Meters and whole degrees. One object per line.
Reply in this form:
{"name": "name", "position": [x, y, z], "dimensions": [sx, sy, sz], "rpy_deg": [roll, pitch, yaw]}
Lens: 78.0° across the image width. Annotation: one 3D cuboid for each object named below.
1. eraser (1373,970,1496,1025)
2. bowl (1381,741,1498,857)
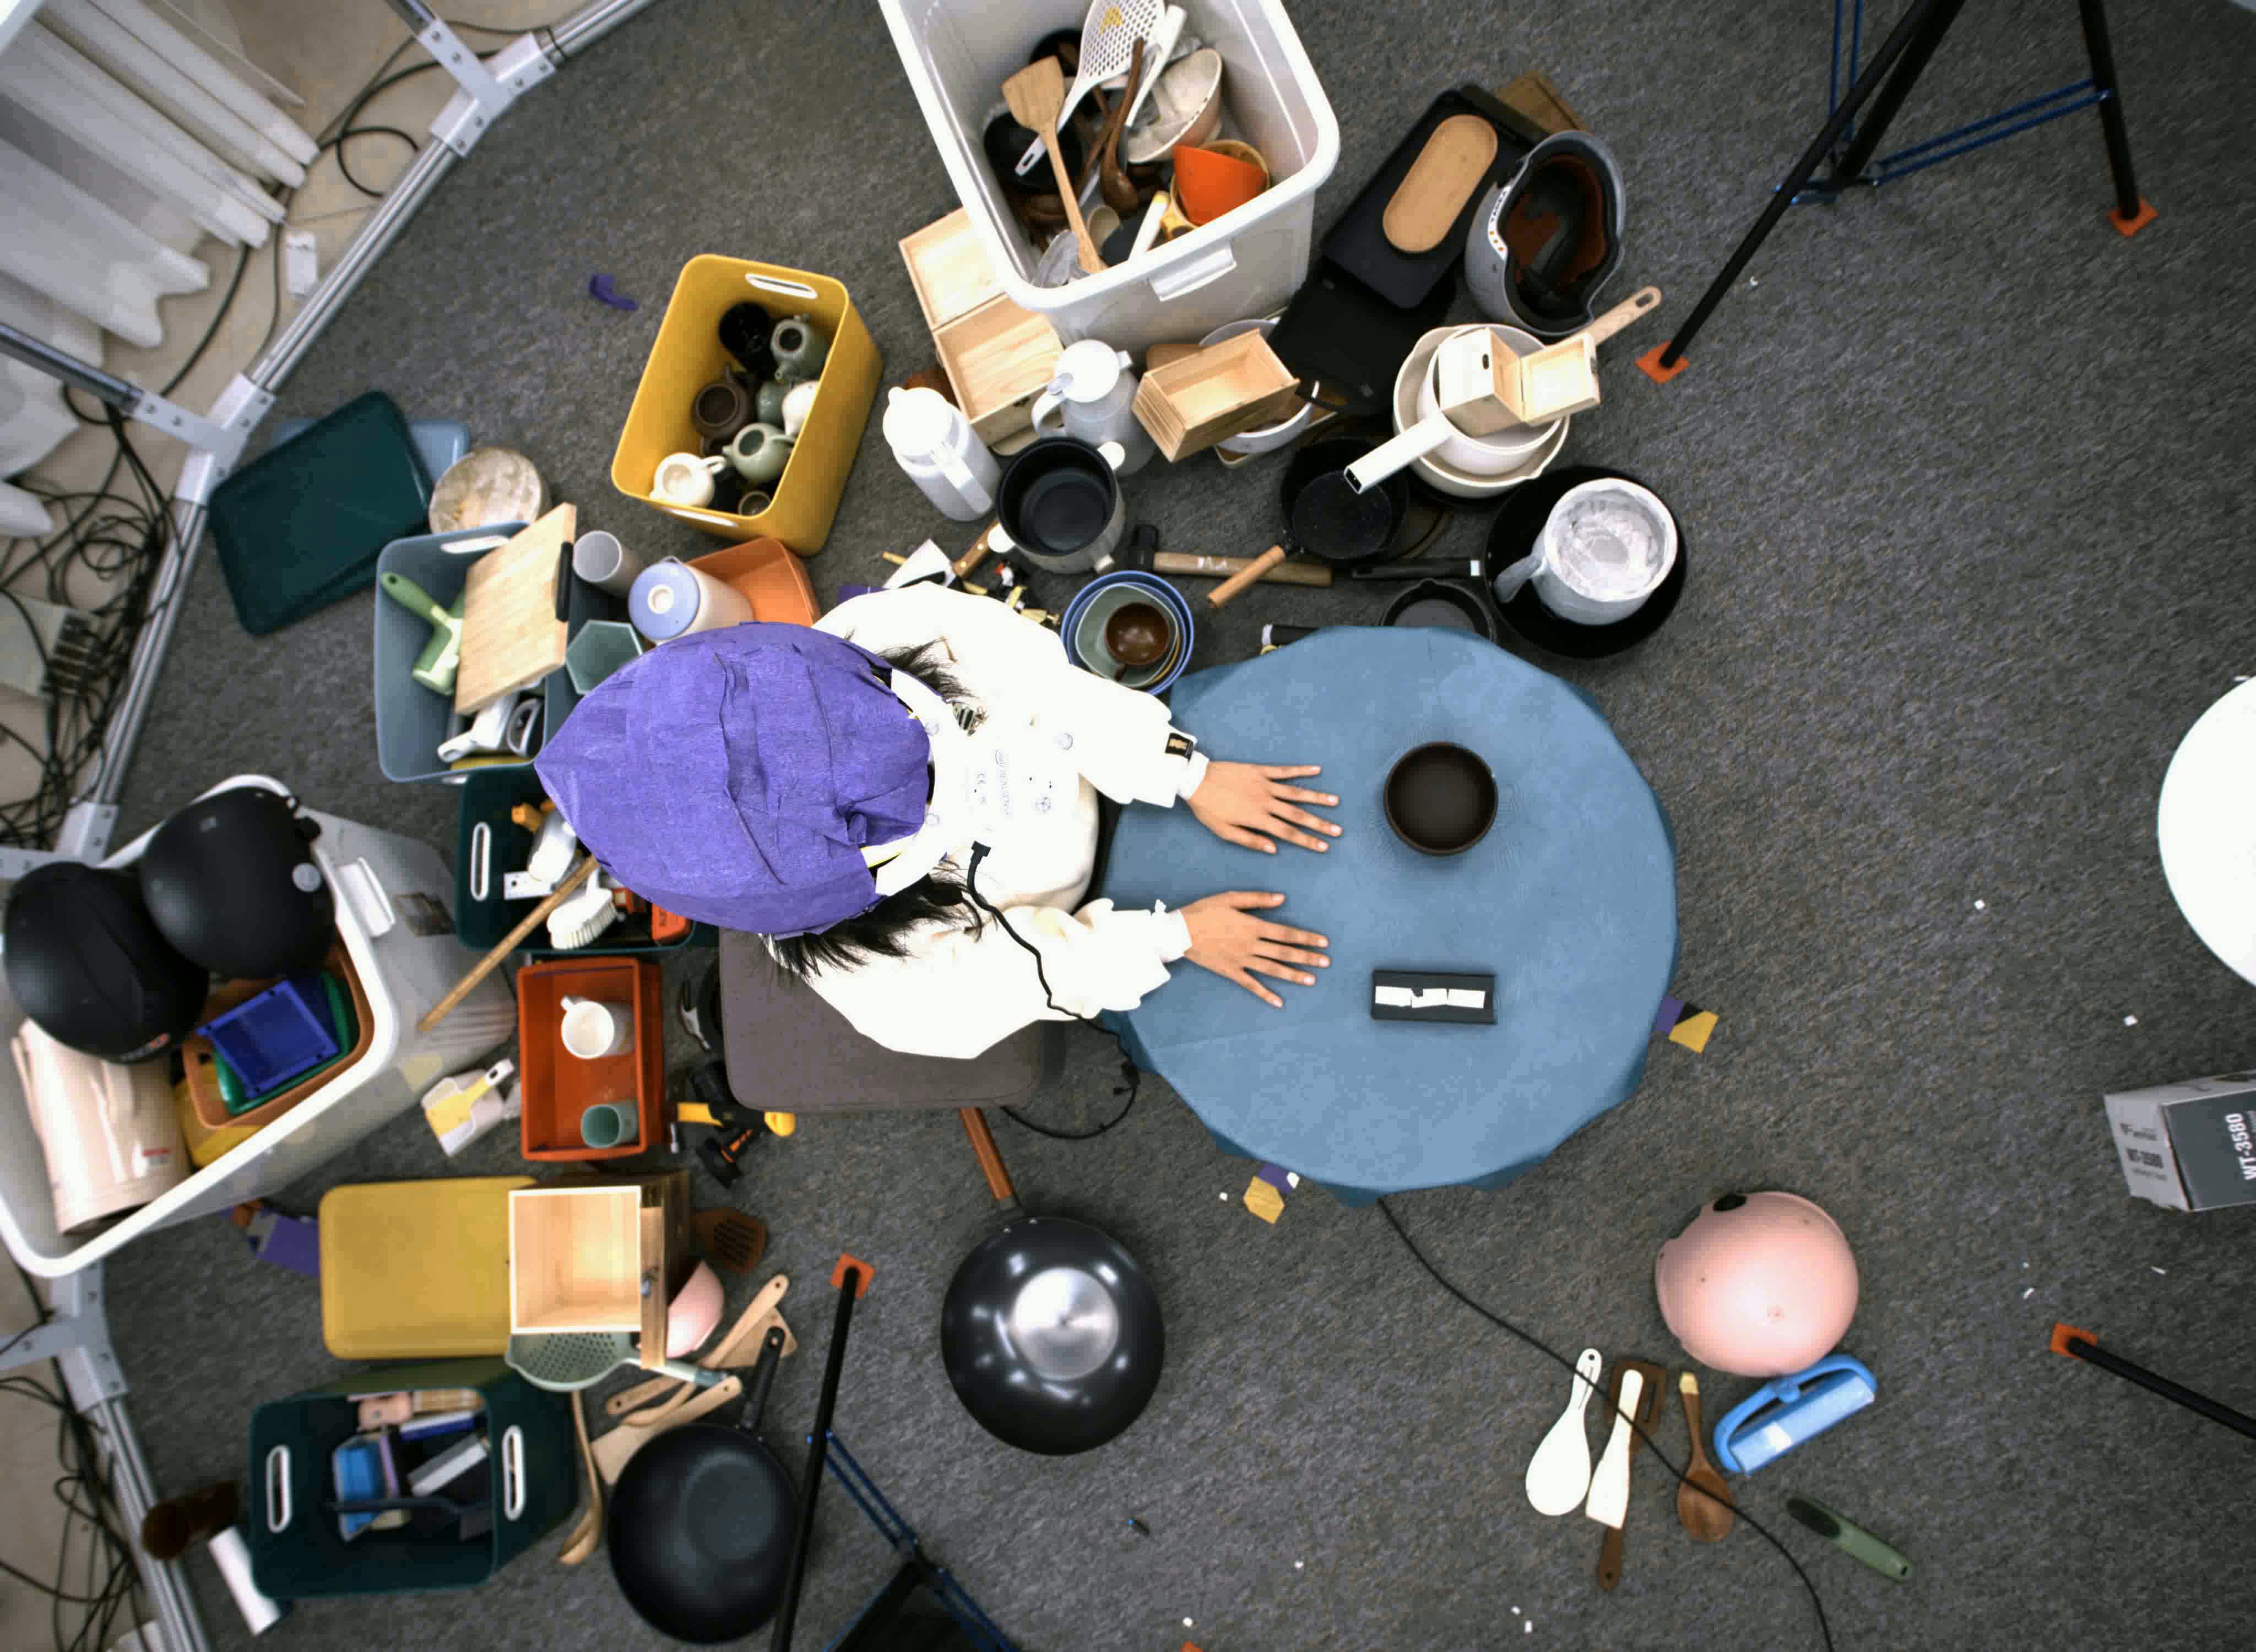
{"name": "eraser", "position": [0.317, 0.176, 1.432], "dimensions": [0.126, 0.030, 0.053], "rpy_deg": [0, 85, 13]}
{"name": "bowl", "position": [0.321, -0.028, 1.420], "dimensions": [0.118, 0.070, 0.117], "rpy_deg": [-1, 86, 11]}
